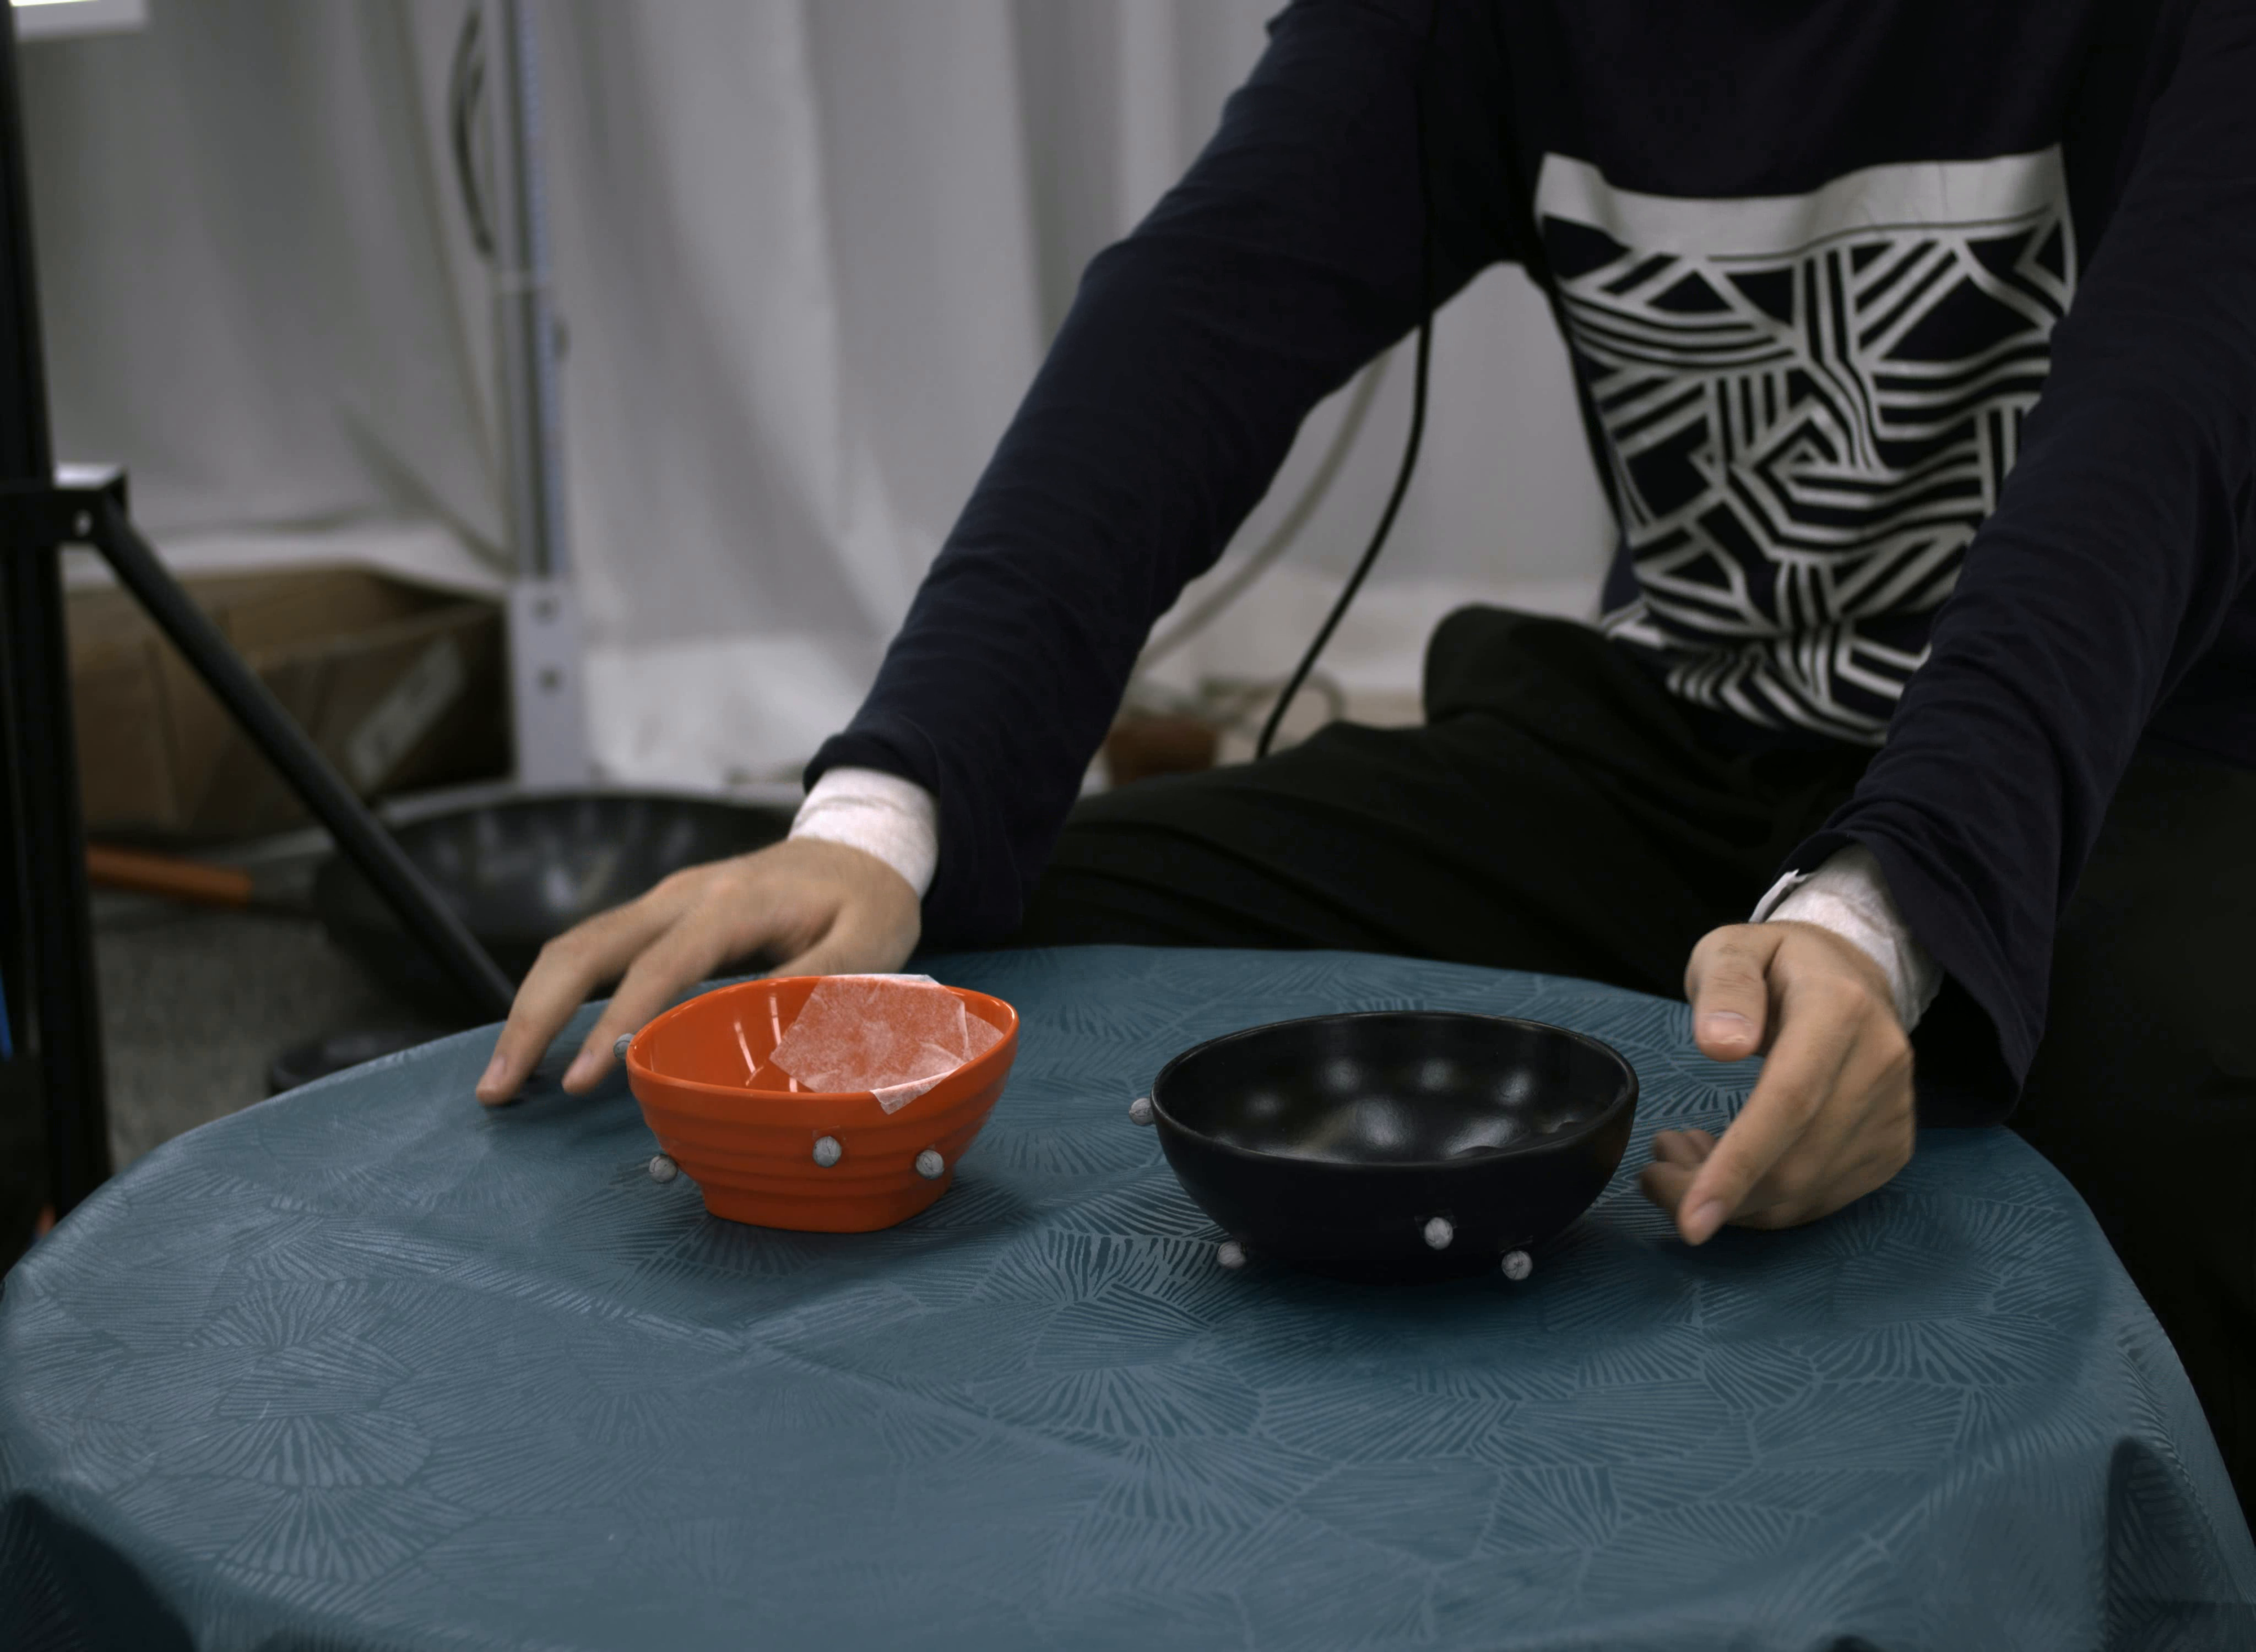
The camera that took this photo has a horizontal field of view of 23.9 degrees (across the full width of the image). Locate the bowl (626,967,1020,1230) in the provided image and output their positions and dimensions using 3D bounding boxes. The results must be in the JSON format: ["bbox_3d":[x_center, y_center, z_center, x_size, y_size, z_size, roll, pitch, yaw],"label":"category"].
[{"bbox_3d":[-0.087,0.083,1.568,0.118,0.051,0.119,-4,17,0],"label":"bowl"}]

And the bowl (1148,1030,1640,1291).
[{"bbox_3d":[0.075,0.099,1.503,0.139,0.050,0.140,0,12,-1],"label":"bowl"}]
